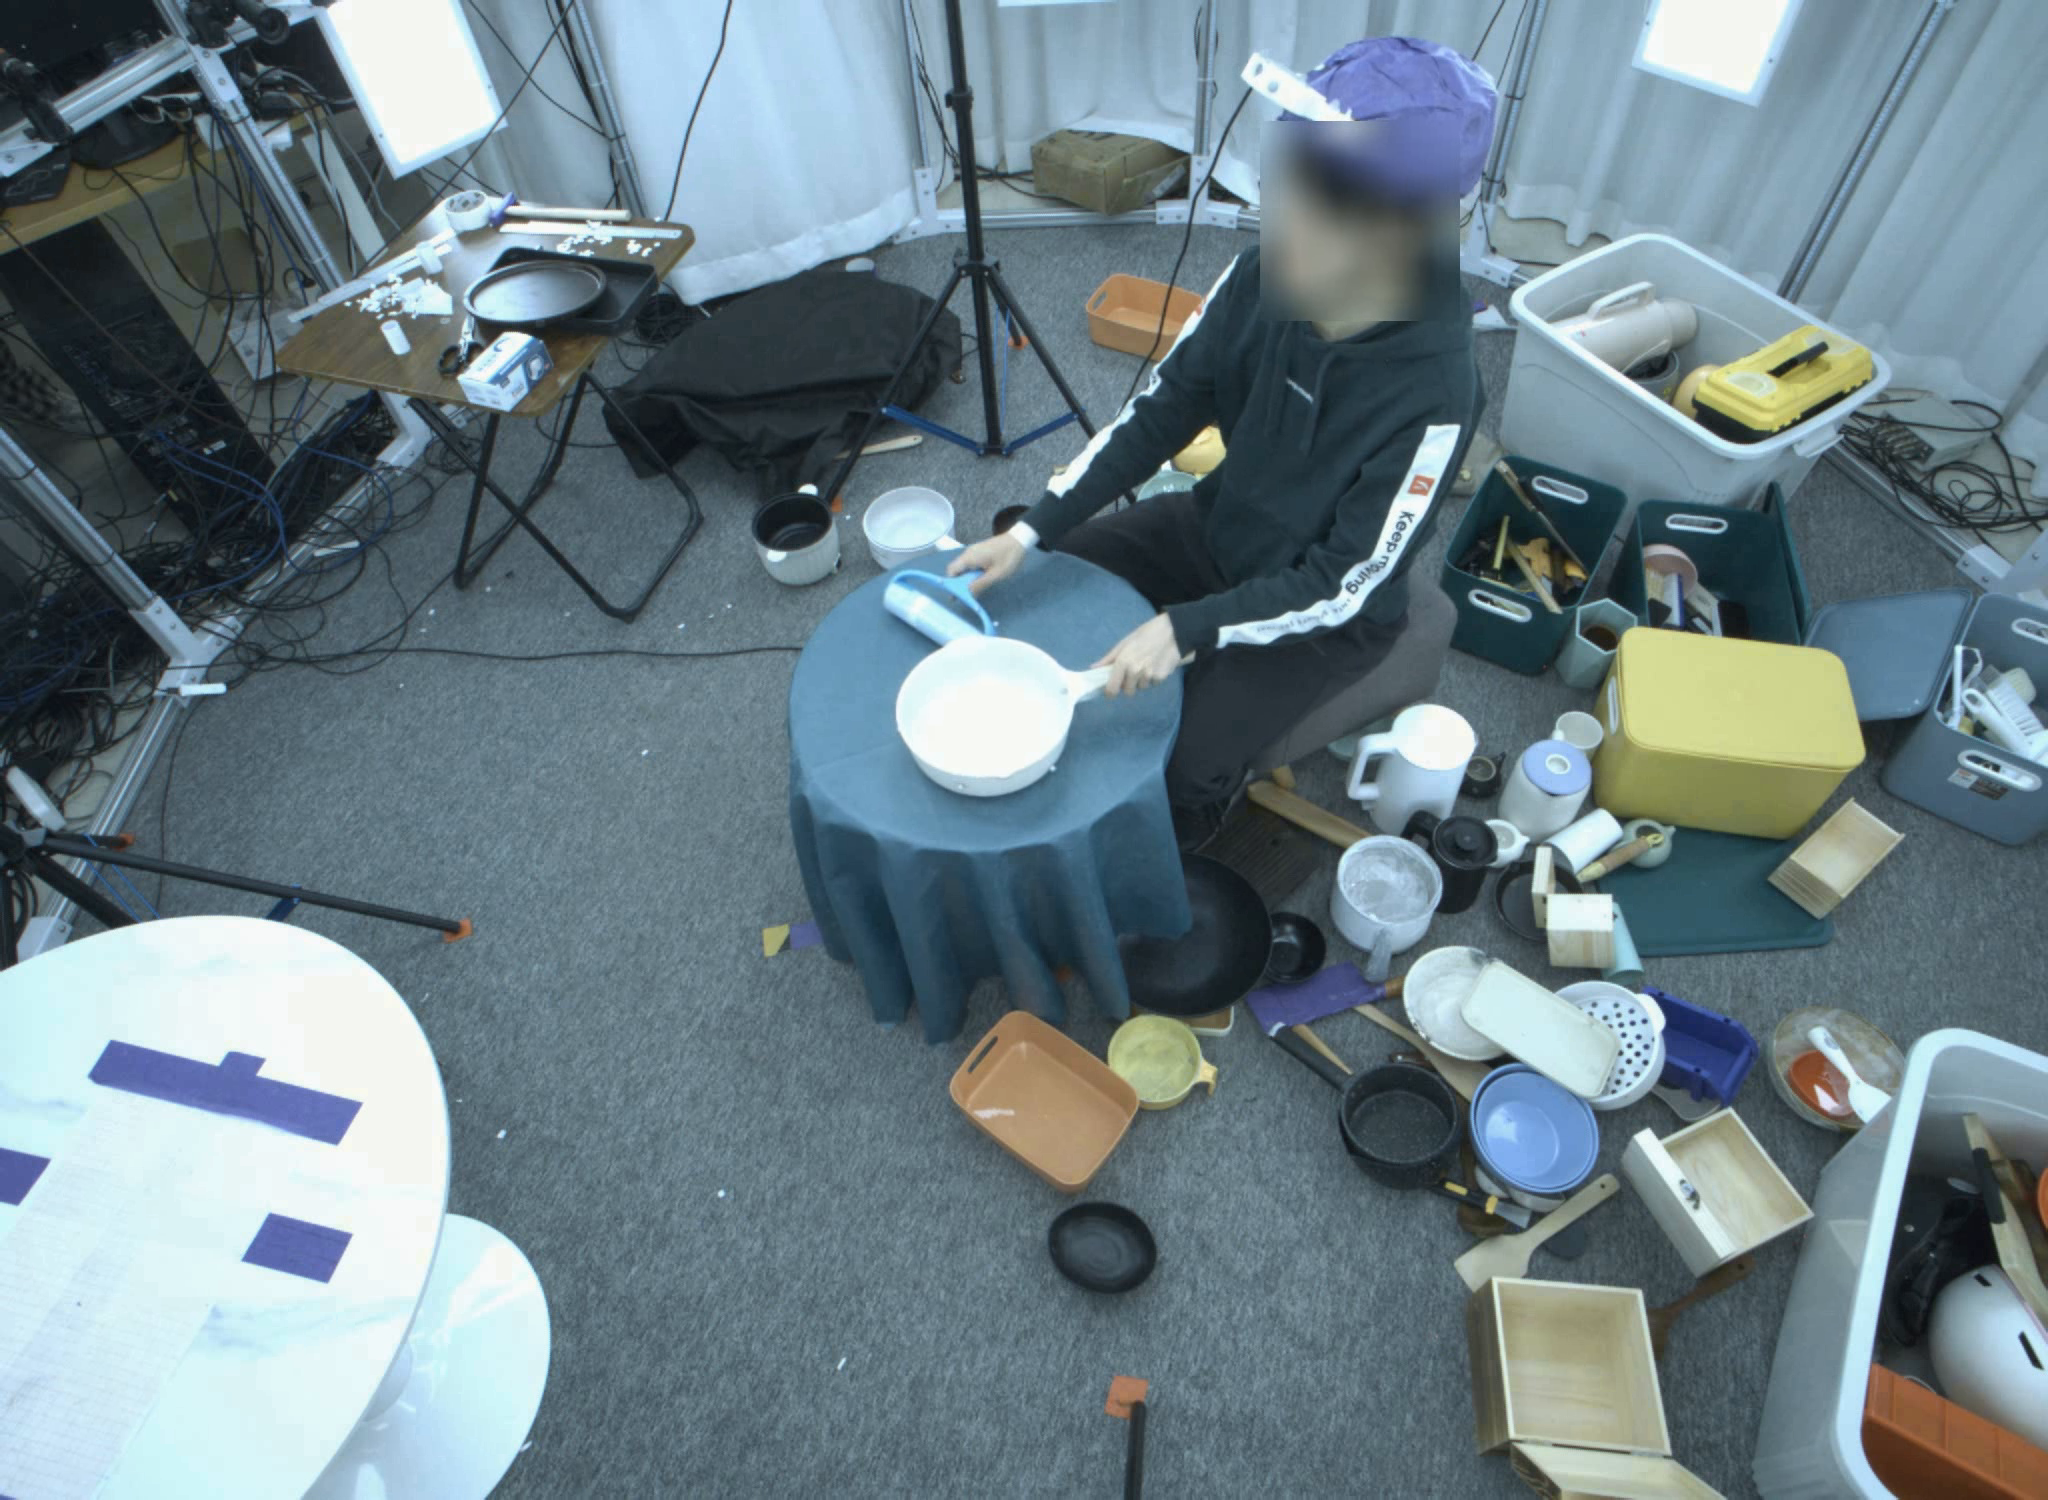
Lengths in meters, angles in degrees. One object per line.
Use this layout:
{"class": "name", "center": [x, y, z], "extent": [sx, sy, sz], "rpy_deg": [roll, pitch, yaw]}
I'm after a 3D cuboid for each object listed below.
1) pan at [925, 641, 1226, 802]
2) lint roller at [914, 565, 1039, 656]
{"class": "pan", "center": [0.078, -0.058, 1.759], "extent": [0.437, 0.103, 0.259], "rpy_deg": [-12, 54, -7]}
{"class": "lint roller", "center": [-0.048, -0.237, 1.903], "extent": [0.224, 0.069, 0.181], "rpy_deg": [34, 75, 26]}
